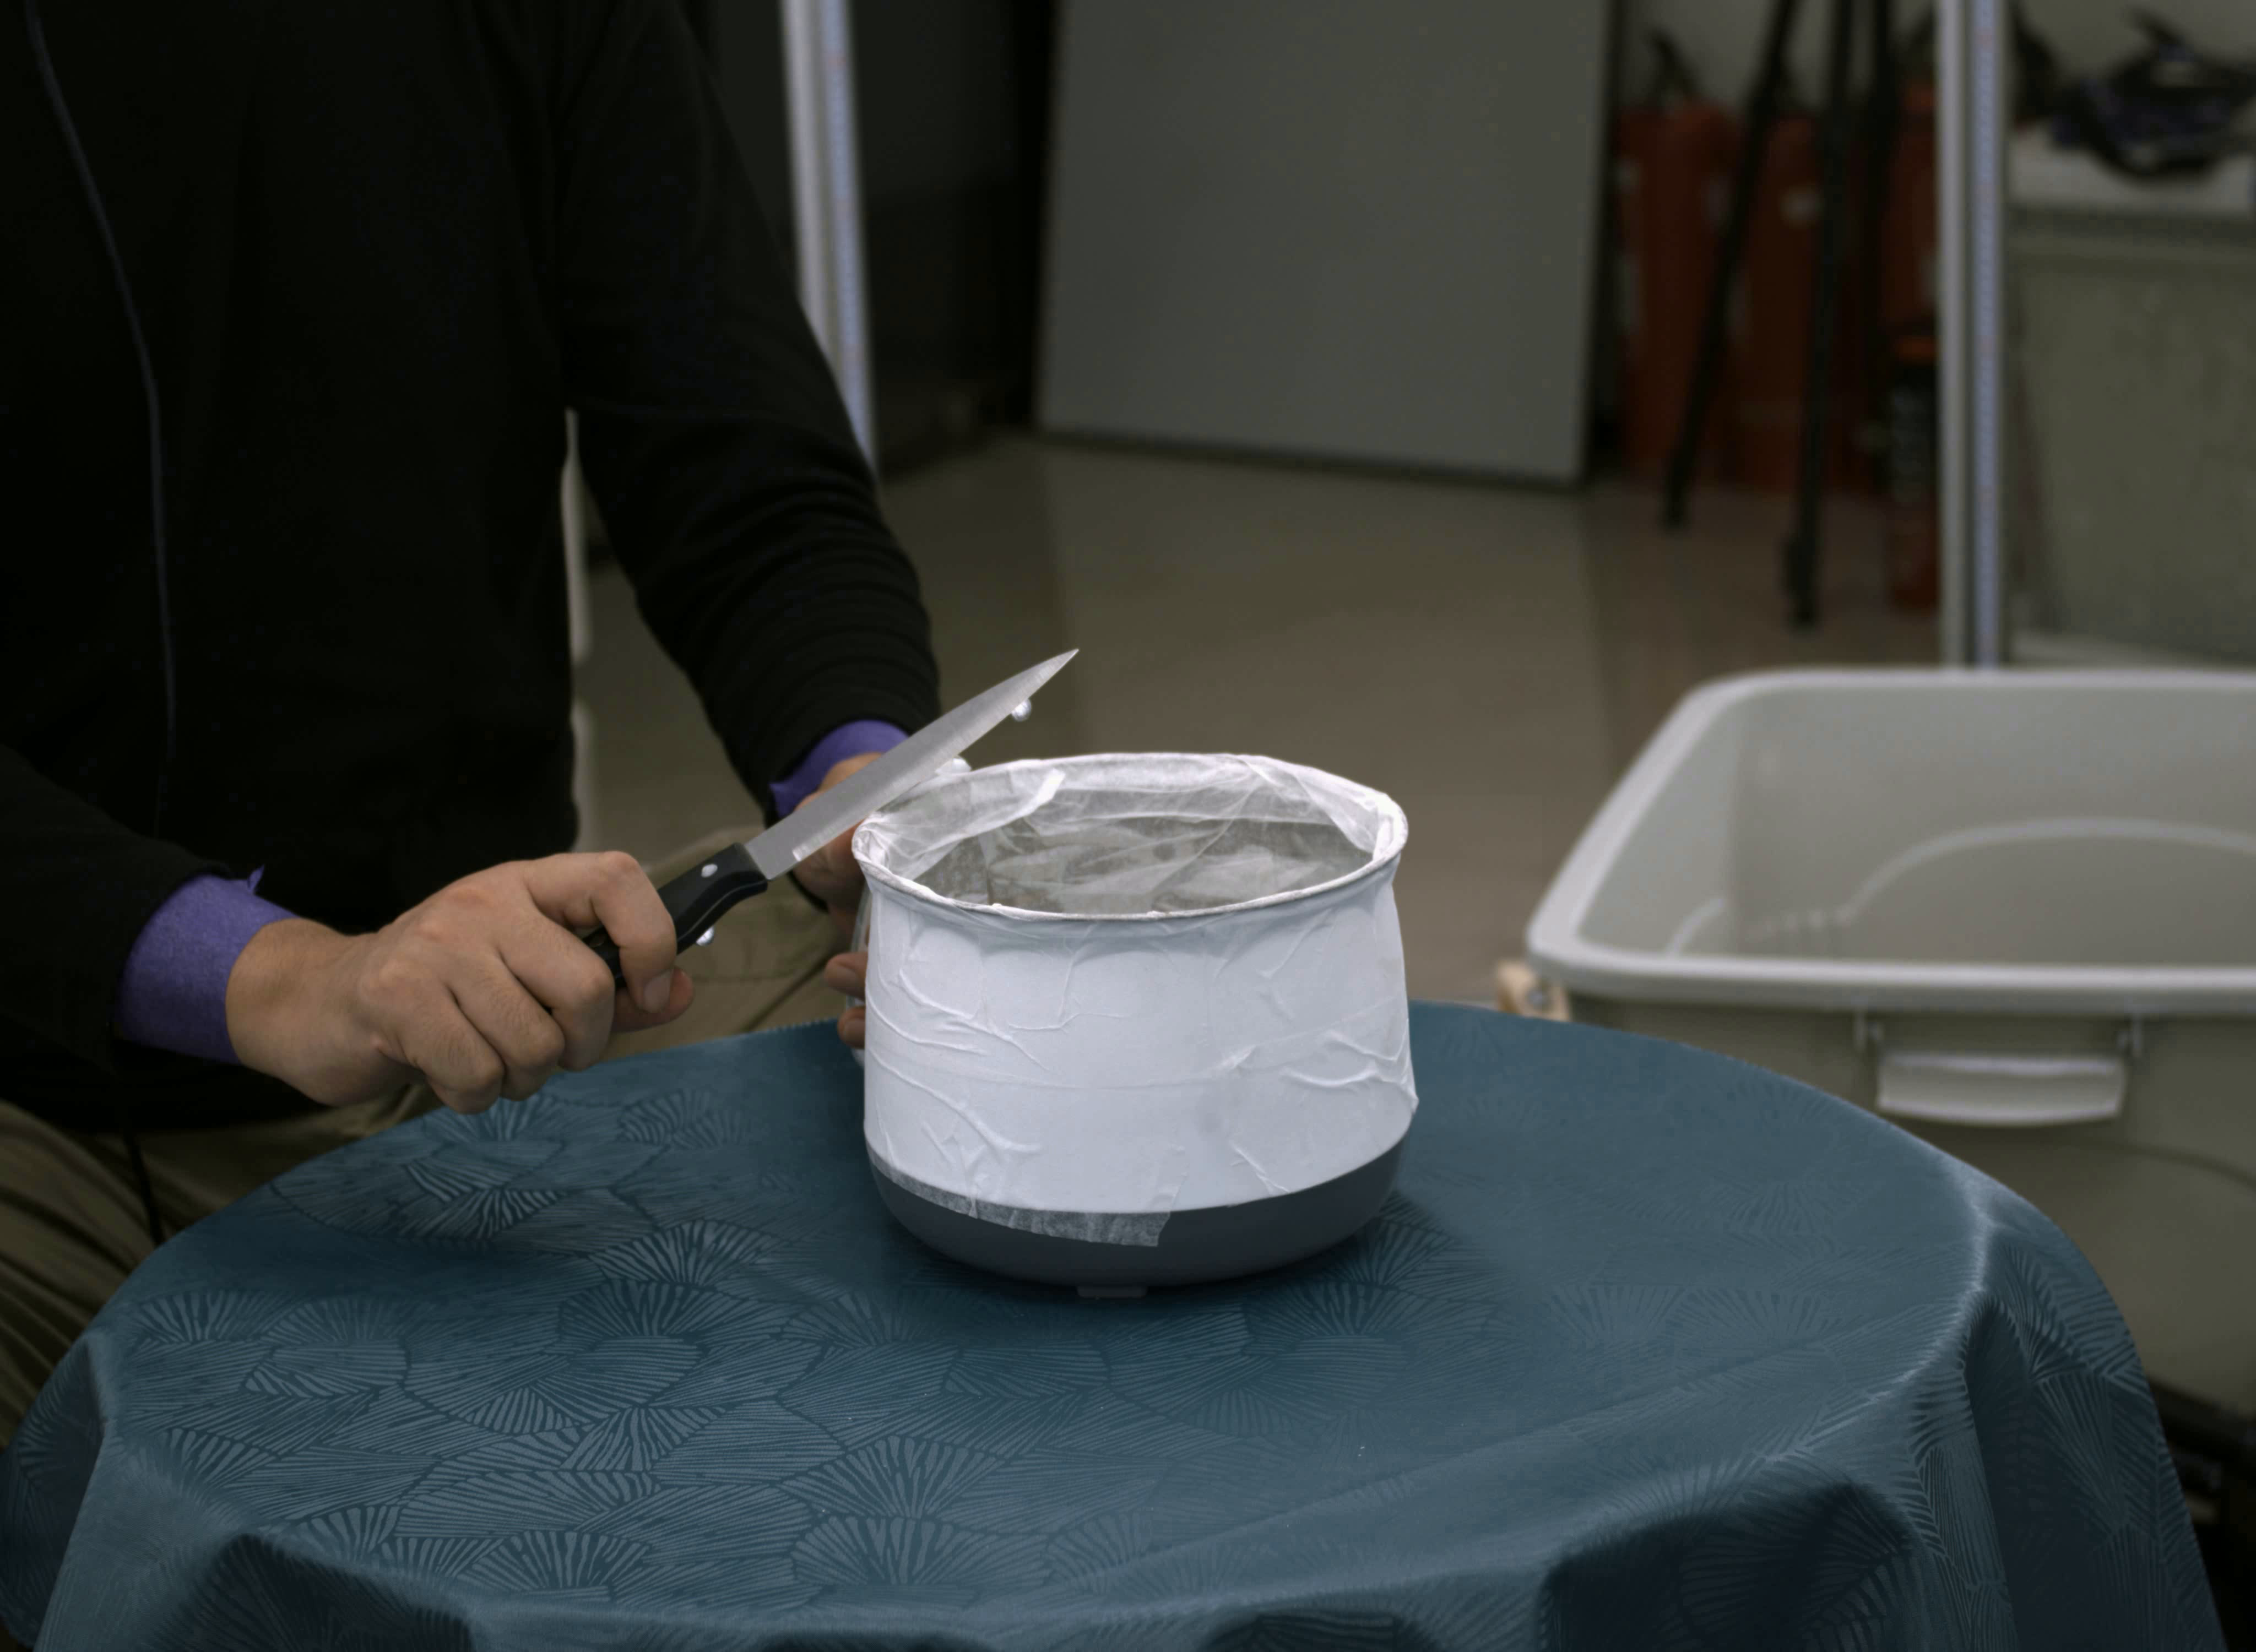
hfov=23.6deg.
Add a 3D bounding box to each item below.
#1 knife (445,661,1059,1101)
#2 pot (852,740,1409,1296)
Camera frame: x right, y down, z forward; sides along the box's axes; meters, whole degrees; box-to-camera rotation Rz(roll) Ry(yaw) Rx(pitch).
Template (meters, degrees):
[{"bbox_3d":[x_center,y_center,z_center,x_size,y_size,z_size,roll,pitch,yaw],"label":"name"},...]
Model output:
[{"bbox_3d":[-0.120,0.014,1.732,0.237,0.016,0.025,-35,42,0],"label":"knife"},{"bbox_3d":[-0.015,0.054,1.739,0.175,0.138,0.236,-13,20,-36],"label":"pot"}]
